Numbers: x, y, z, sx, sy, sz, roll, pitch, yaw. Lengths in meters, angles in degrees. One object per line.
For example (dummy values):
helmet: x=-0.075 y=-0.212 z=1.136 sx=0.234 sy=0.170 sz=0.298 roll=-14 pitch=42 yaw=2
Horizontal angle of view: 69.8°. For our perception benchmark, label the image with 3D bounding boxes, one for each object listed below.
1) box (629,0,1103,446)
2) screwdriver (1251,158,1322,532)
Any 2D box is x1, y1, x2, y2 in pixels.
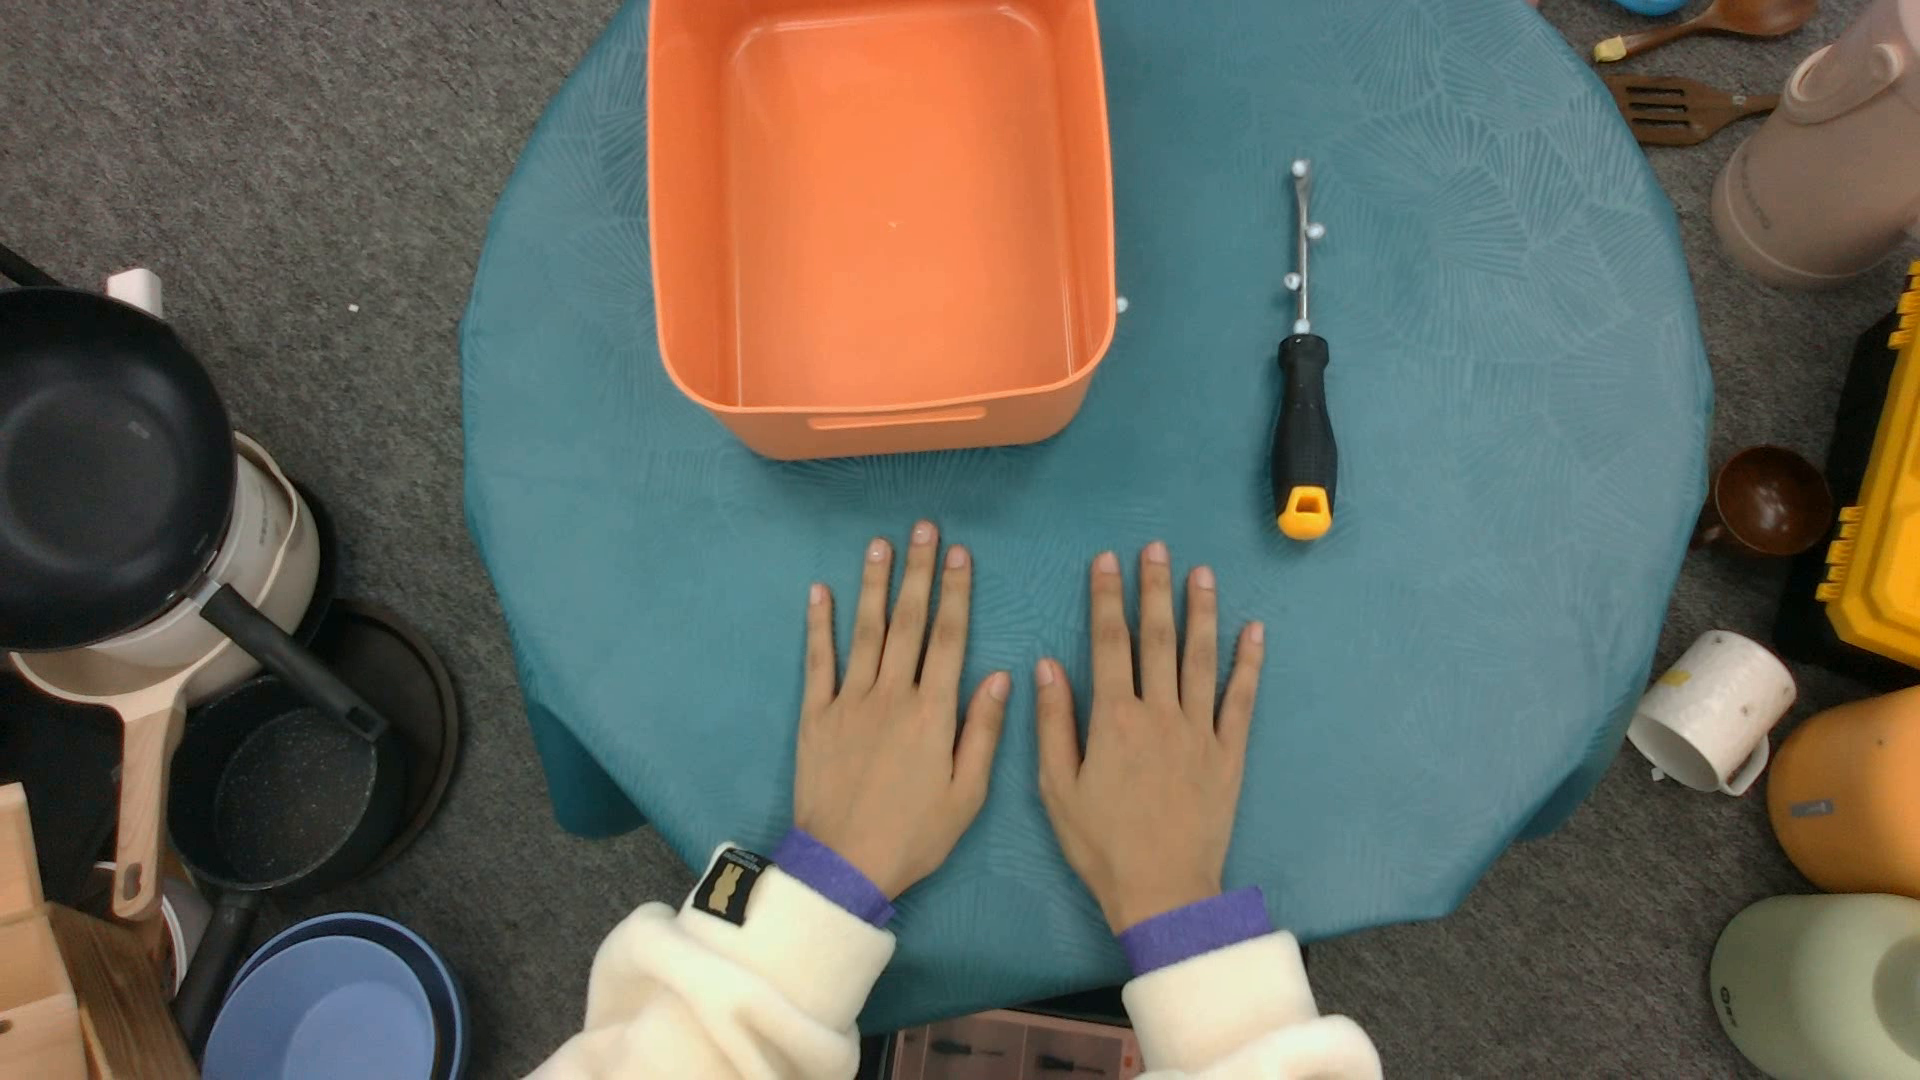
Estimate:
box: x=-0.043 y=-0.177 z=0.640 sx=0.199 sy=0.102 sz=0.274 roll=-4 pitch=74 yaw=0
screwdriver: x=0.146 y=-0.096 z=0.641 sx=0.031 sy=0.031 sz=0.198 roll=-1 pitch=65 yaw=2
